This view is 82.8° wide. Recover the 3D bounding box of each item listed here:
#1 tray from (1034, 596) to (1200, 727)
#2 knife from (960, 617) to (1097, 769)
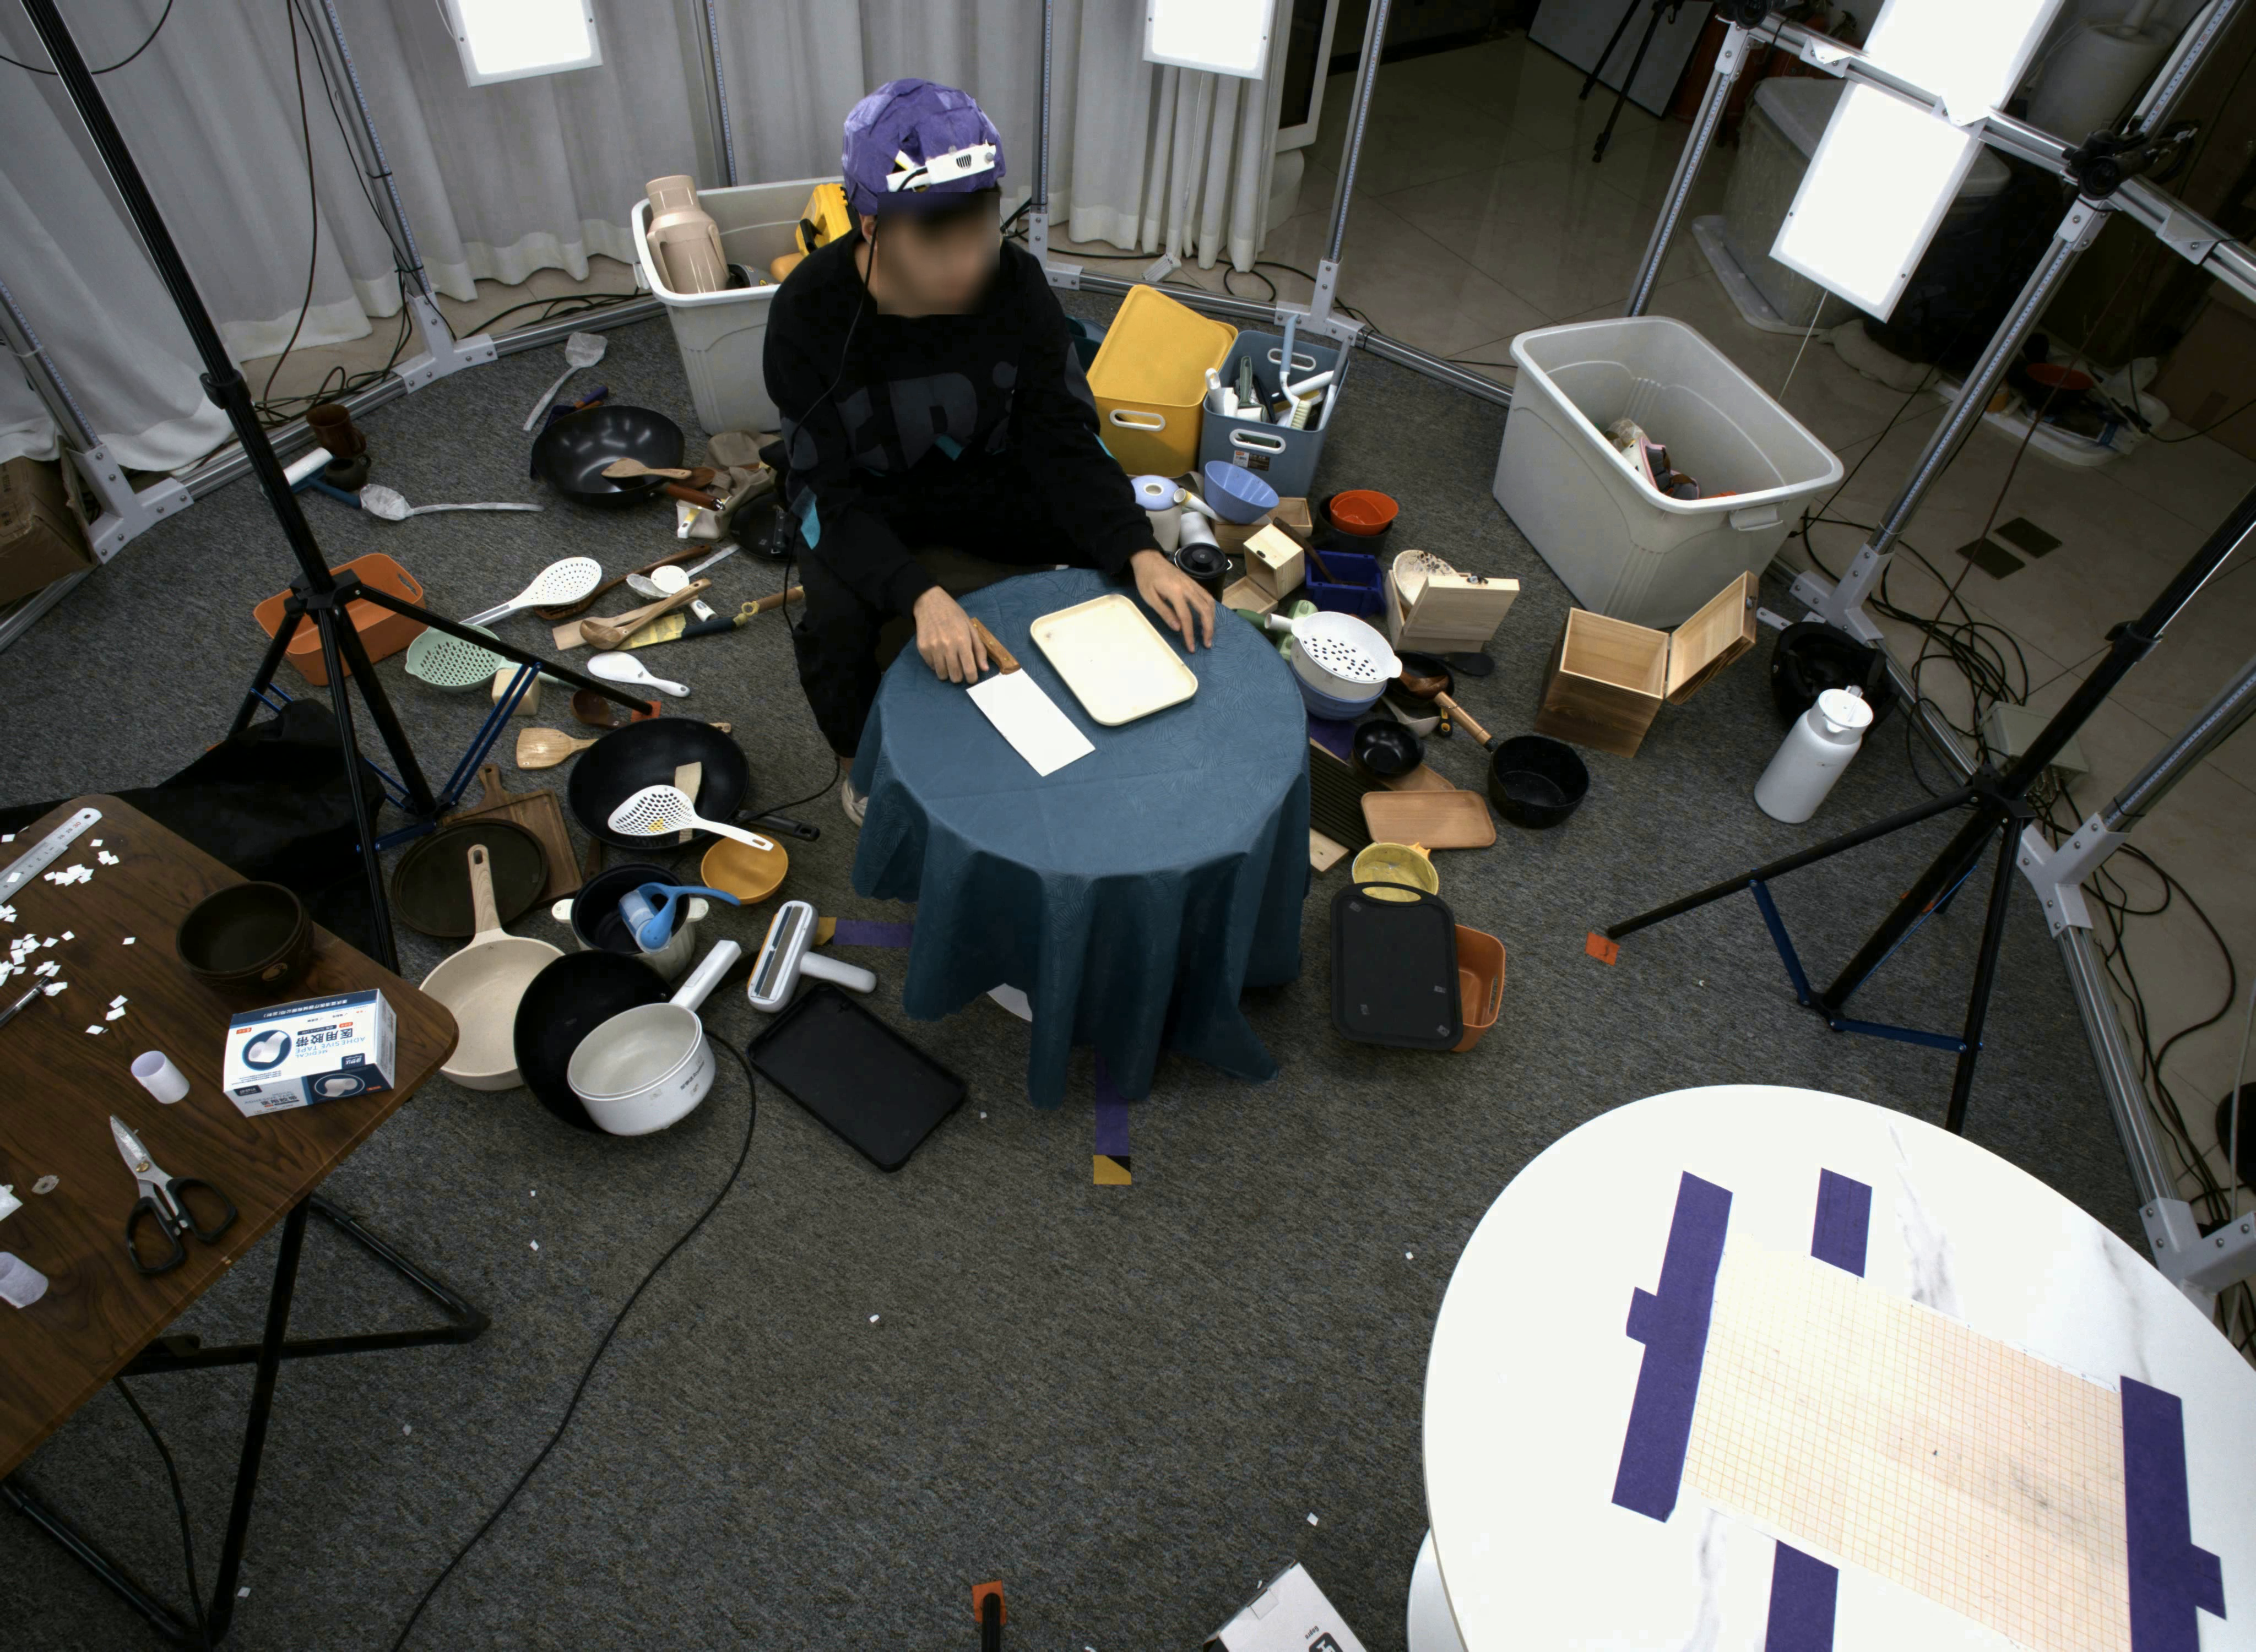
[{"bbox_3d":[-0.018,-0.241,1.864,0.172,0.017,0.245,-22,54,-20],"label":"tray"},{"bbox_3d":[-0.165,-0.187,1.810,0.093,0.020,0.311,-28,59,-24],"label":"knife"}]
